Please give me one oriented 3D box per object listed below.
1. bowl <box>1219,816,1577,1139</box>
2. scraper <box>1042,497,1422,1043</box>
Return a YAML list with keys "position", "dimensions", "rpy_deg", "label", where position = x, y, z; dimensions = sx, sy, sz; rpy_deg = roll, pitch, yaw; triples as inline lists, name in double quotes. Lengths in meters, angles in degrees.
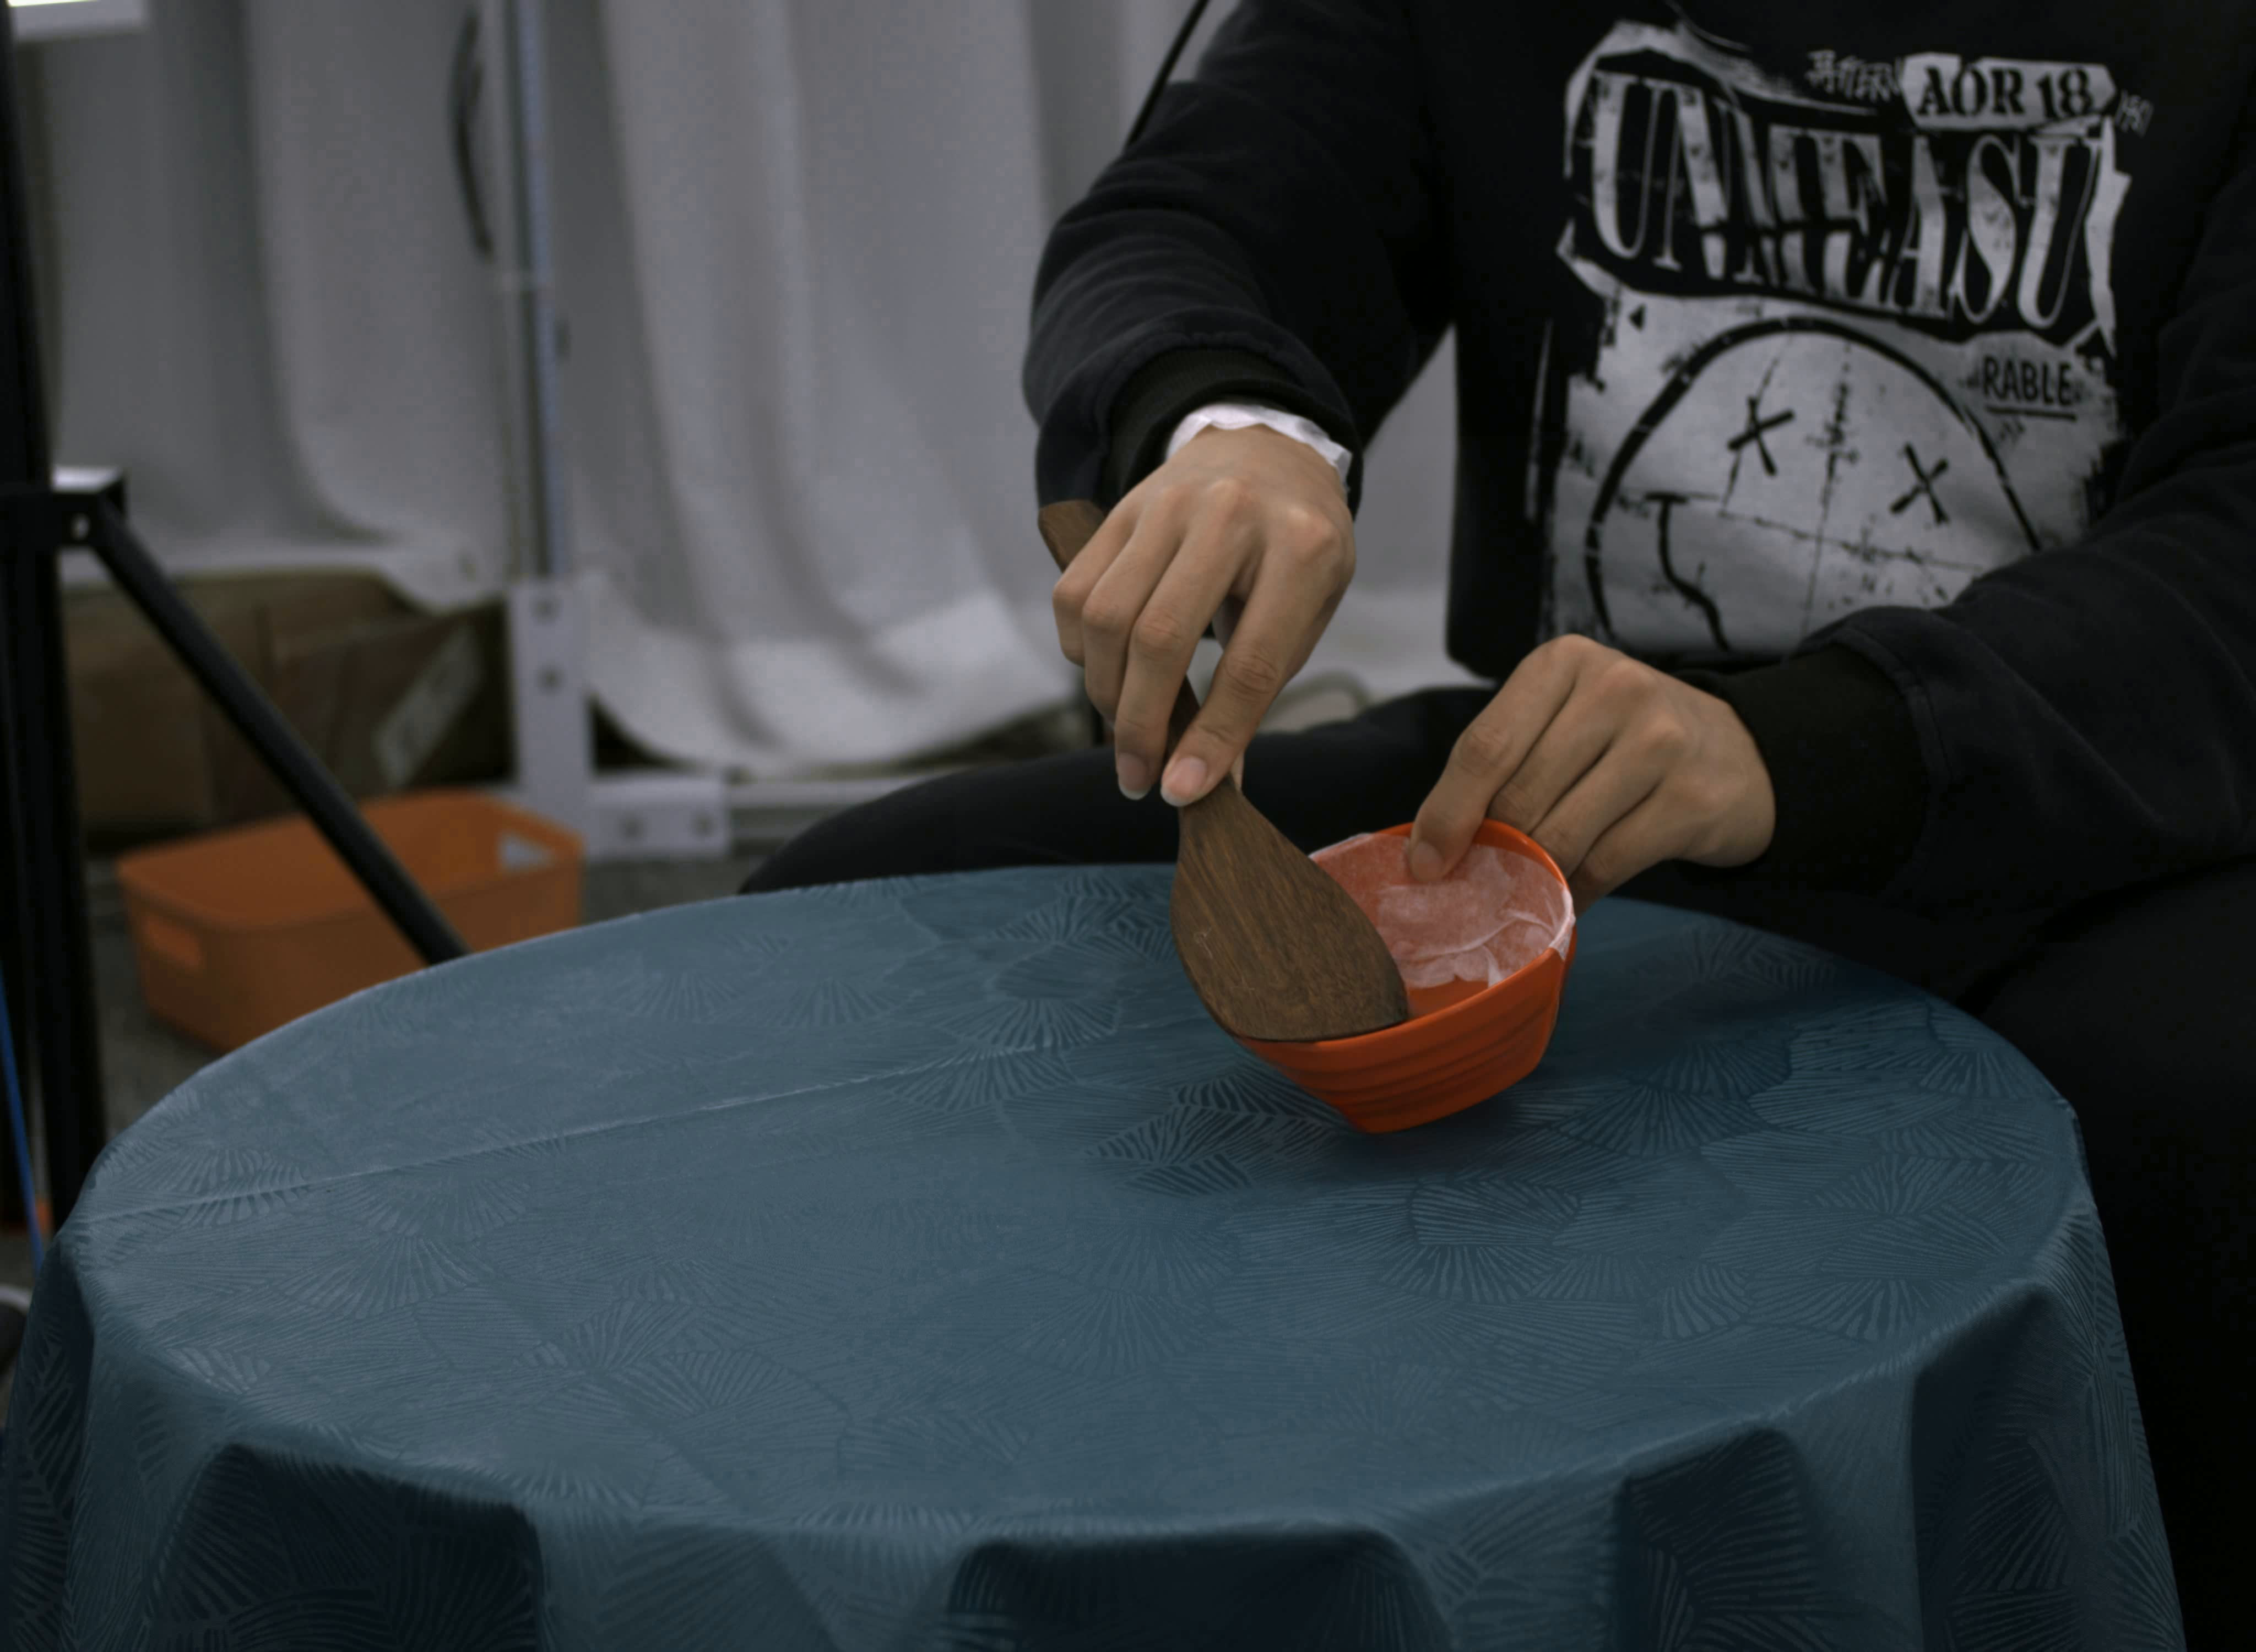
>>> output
- position: [0.085, 0.051, 1.613]
  dimensions: [0.119, 0.051, 0.120]
  rpy_deg: [-16, 31, 8]
  label: "bowl"
- position: [0.021, -0.019, 1.620]
  dimensions: [0.074, 0.011, 0.215]
  rpy_deg: [-3, 53, -32]
  label: "scraper"
